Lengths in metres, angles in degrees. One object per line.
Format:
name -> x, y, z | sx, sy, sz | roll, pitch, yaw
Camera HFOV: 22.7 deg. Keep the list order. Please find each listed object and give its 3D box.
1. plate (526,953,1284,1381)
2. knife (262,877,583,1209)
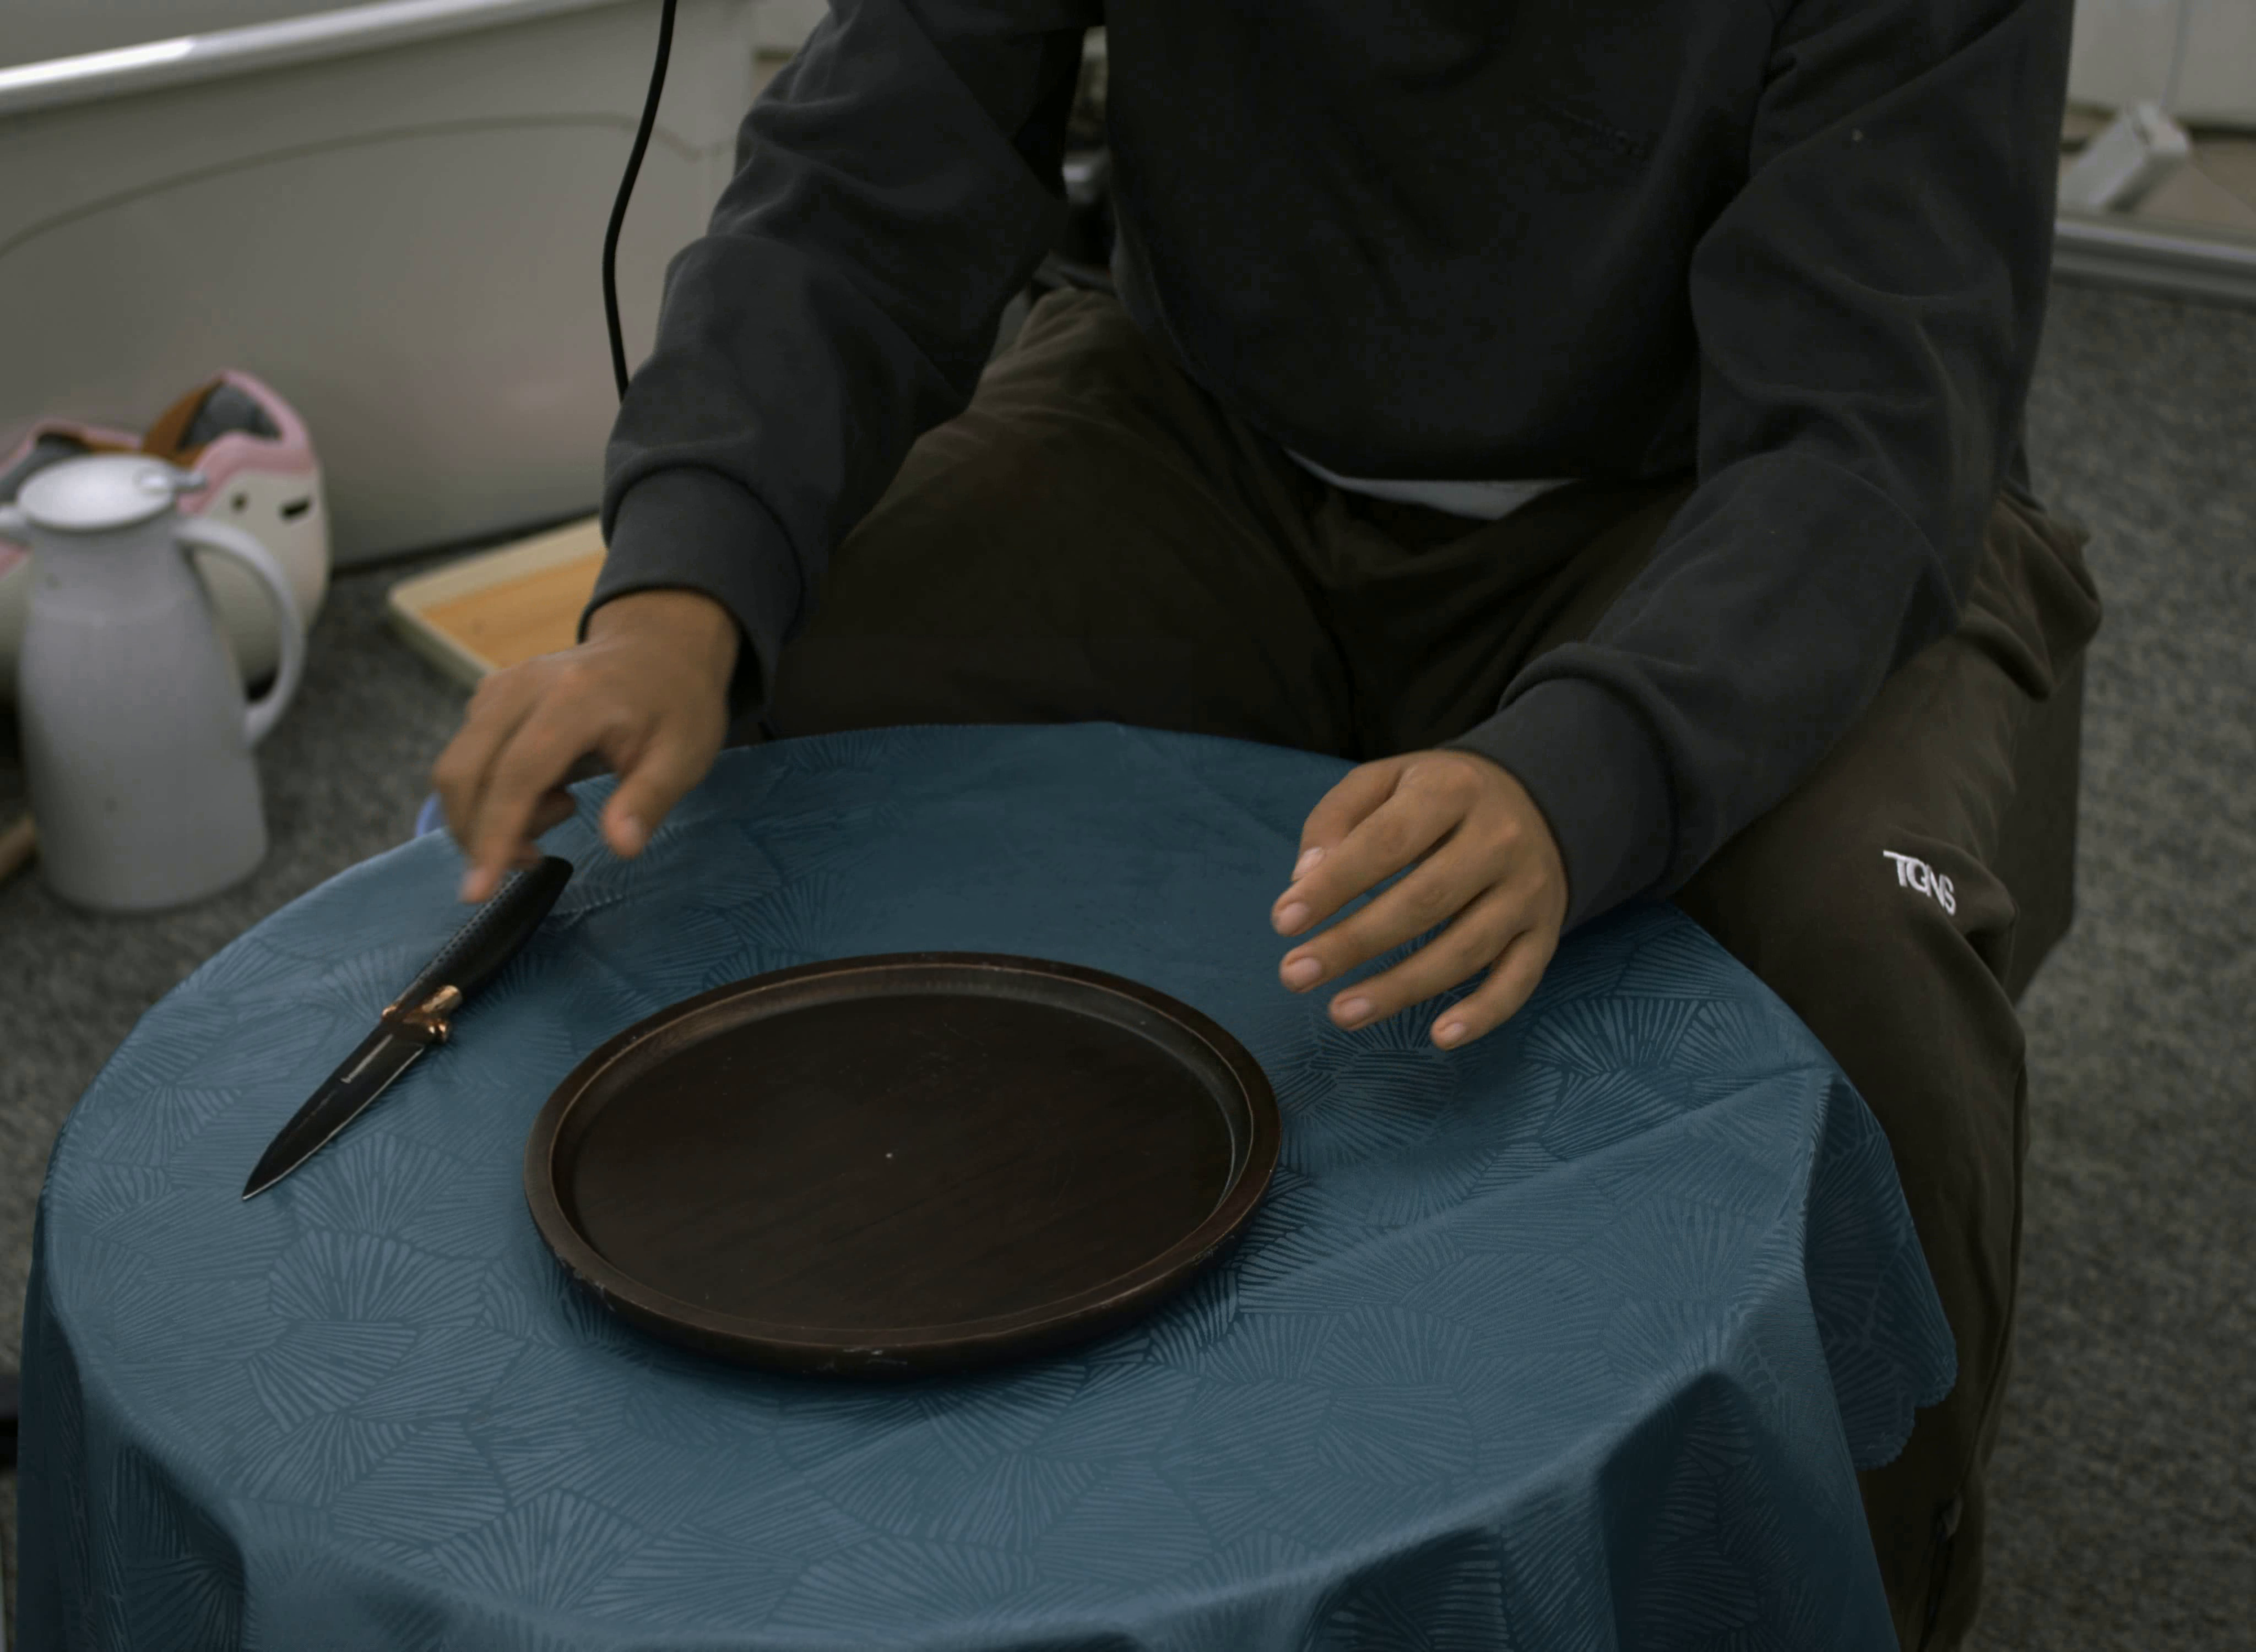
plate -> -0.073, 0.112, 1.866 | 0.253, 0.029, 0.258 | -3, 26, 2
knife -> -0.249, 0.075, 1.966 | 0.026, 0.017, 0.229 | 13, 32, 19
